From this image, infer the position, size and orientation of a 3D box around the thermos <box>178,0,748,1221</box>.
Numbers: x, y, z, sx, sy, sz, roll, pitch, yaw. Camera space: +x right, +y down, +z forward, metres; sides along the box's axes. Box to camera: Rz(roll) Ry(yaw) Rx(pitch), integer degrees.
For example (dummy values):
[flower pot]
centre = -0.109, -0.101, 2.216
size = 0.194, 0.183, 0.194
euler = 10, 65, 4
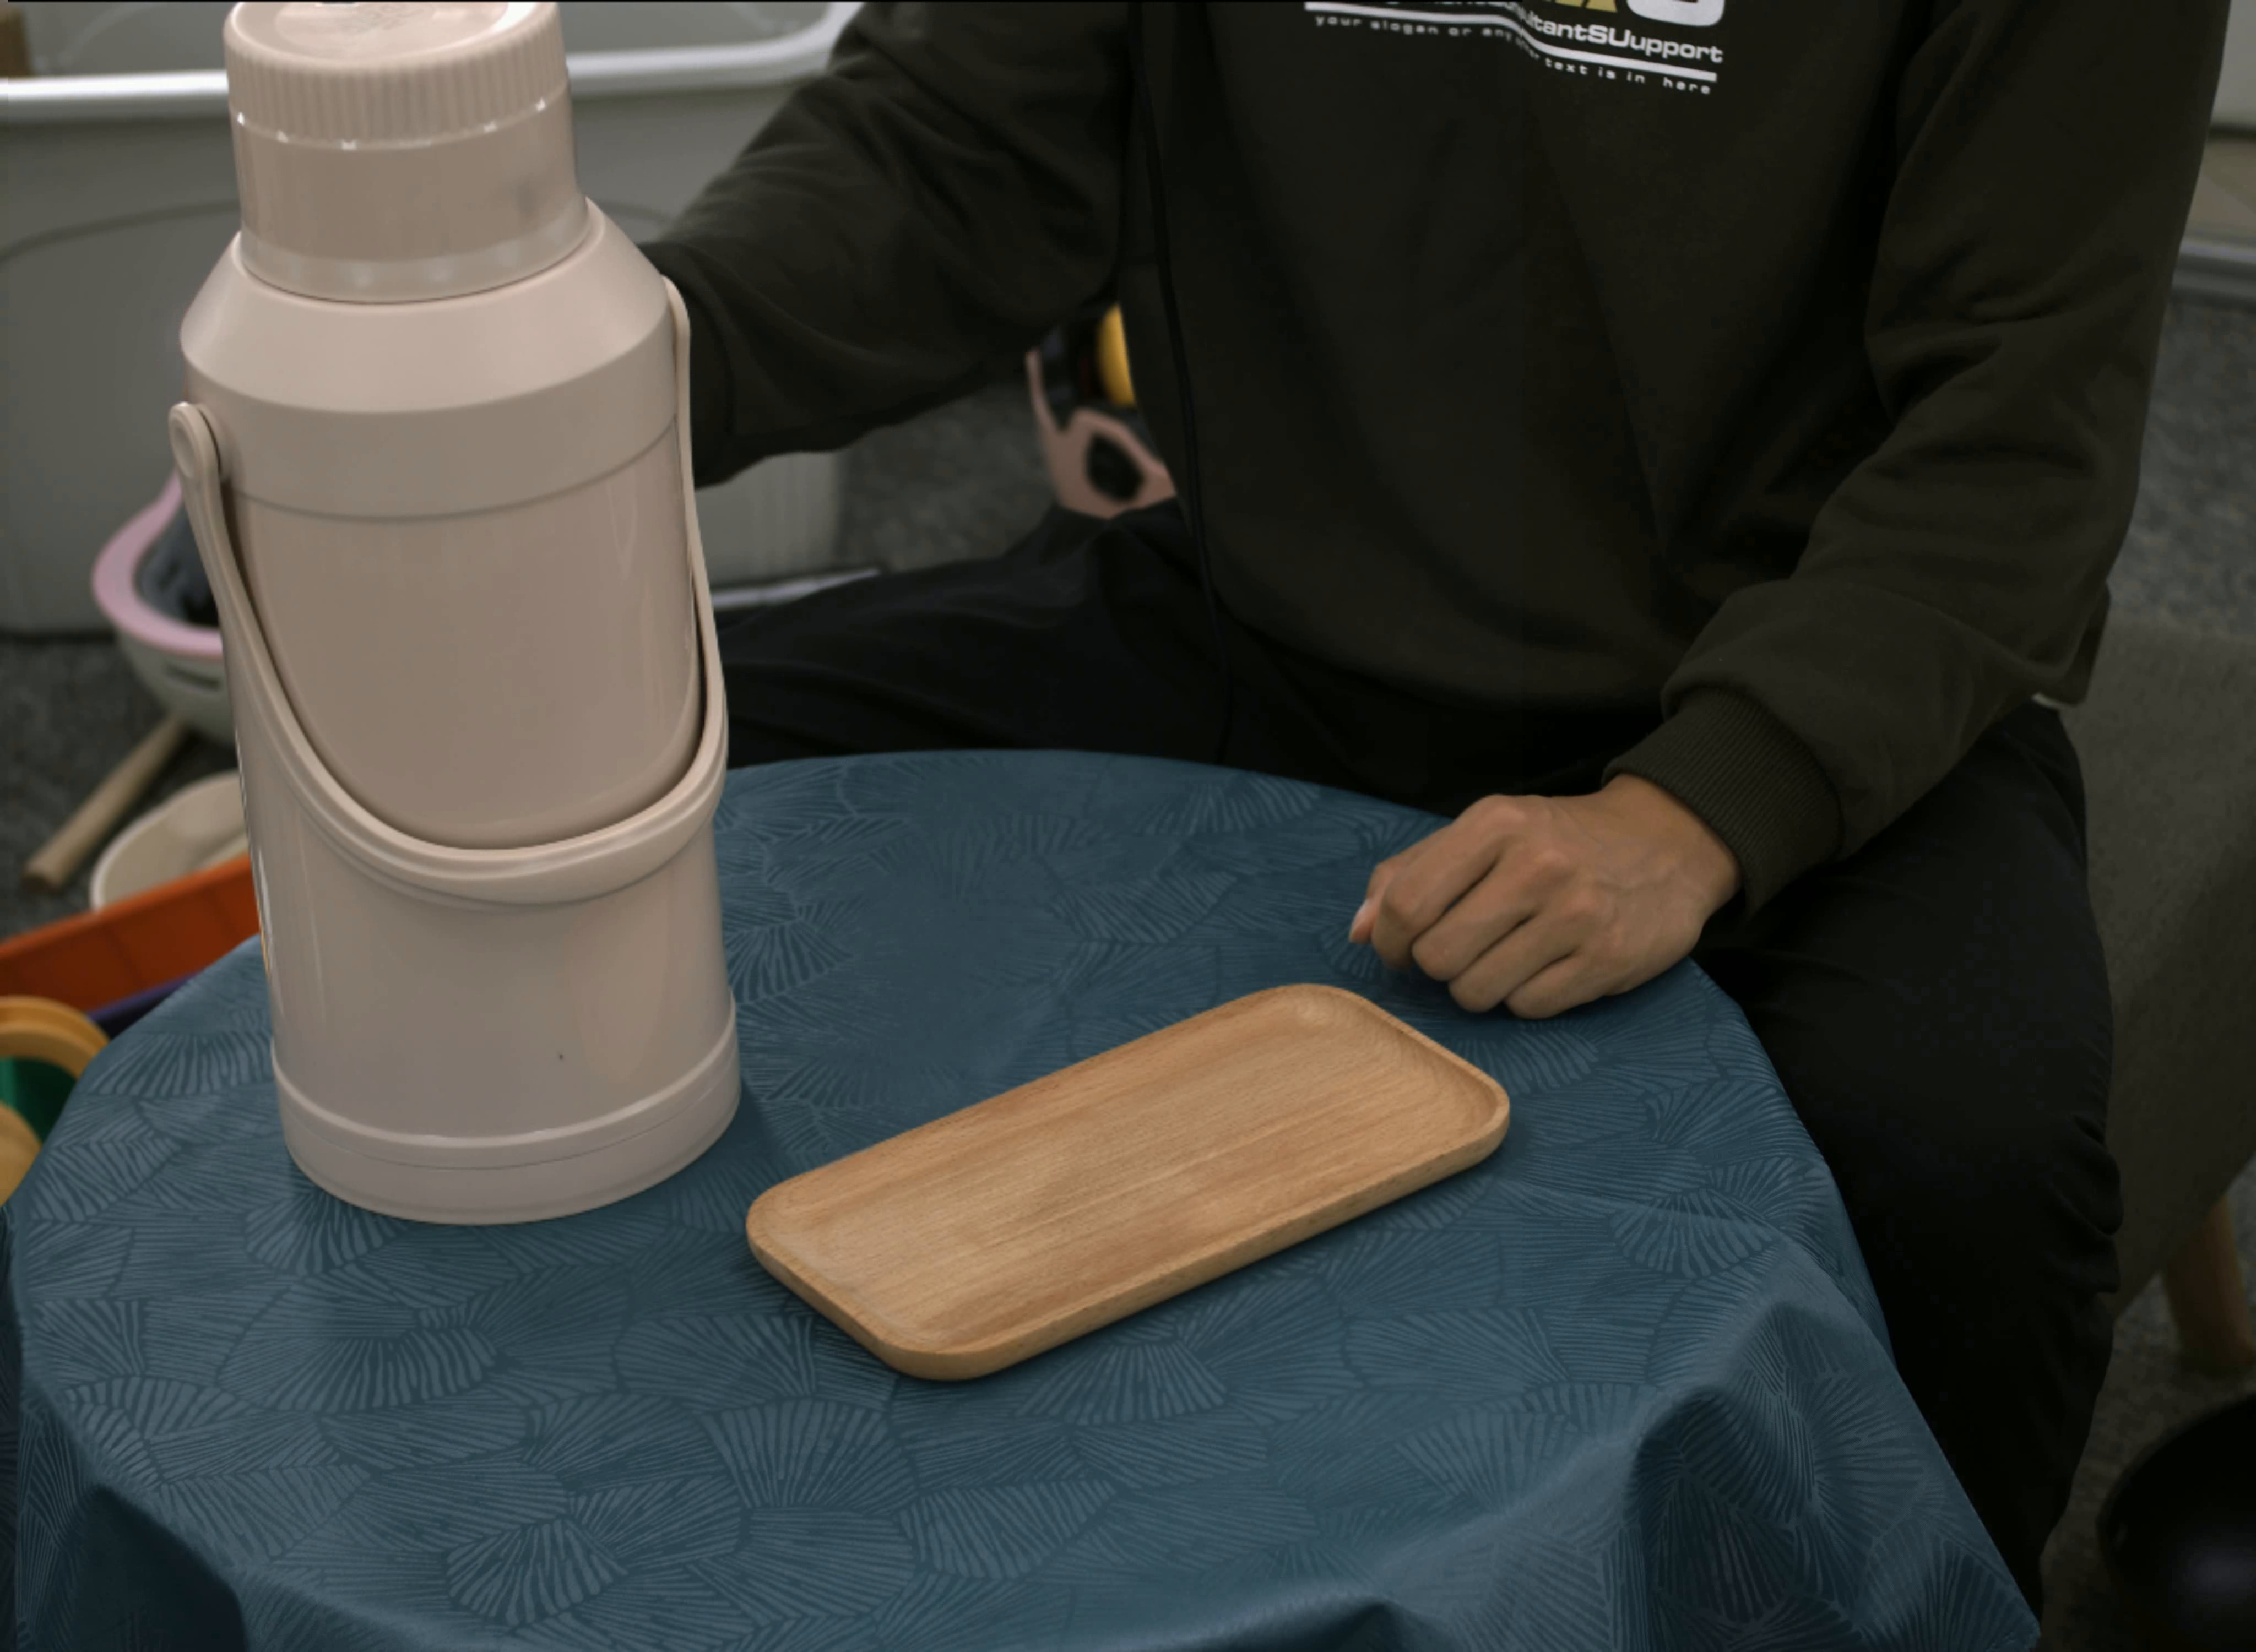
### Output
[thermos]
centre = -0.224, -0.085, 1.857
size = 0.177, 0.402, 0.207
euler = -20, 31, -28

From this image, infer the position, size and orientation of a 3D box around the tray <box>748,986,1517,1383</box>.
[tray]
centre = 0.003, 0.117, 1.857
size = 0.253, 0.022, 0.131
euler = -19, 34, -30
